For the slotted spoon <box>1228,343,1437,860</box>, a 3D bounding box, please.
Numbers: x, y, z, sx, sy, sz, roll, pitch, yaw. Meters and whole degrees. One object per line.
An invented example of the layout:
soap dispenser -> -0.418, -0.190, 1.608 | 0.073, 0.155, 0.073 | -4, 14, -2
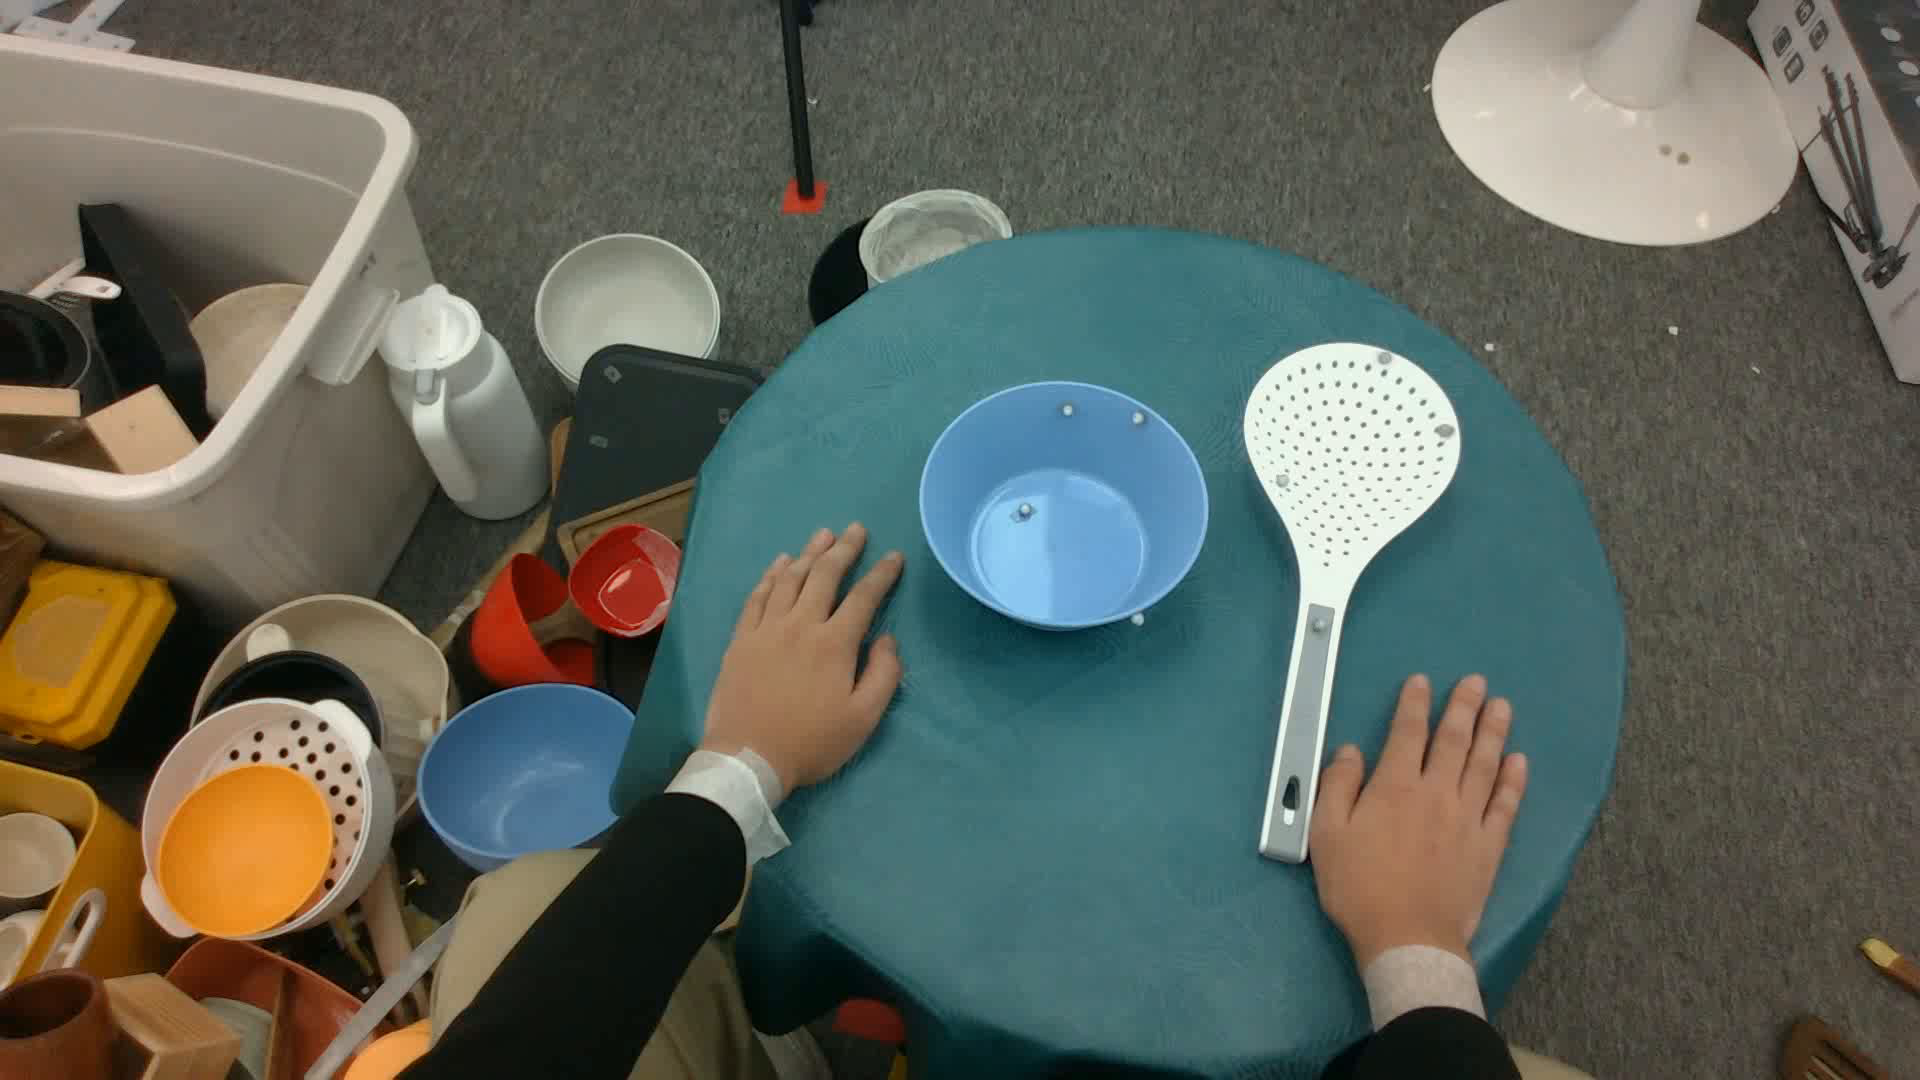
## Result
slotted spoon -> 0.217, 0.027, 0.859 | 0.136, 0.045, 0.351 | 13, 61, 6

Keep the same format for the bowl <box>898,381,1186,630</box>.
bowl -> 0.050, -0.011, 0.862 | 0.176, 0.070, 0.177 | 0, 60, -1
